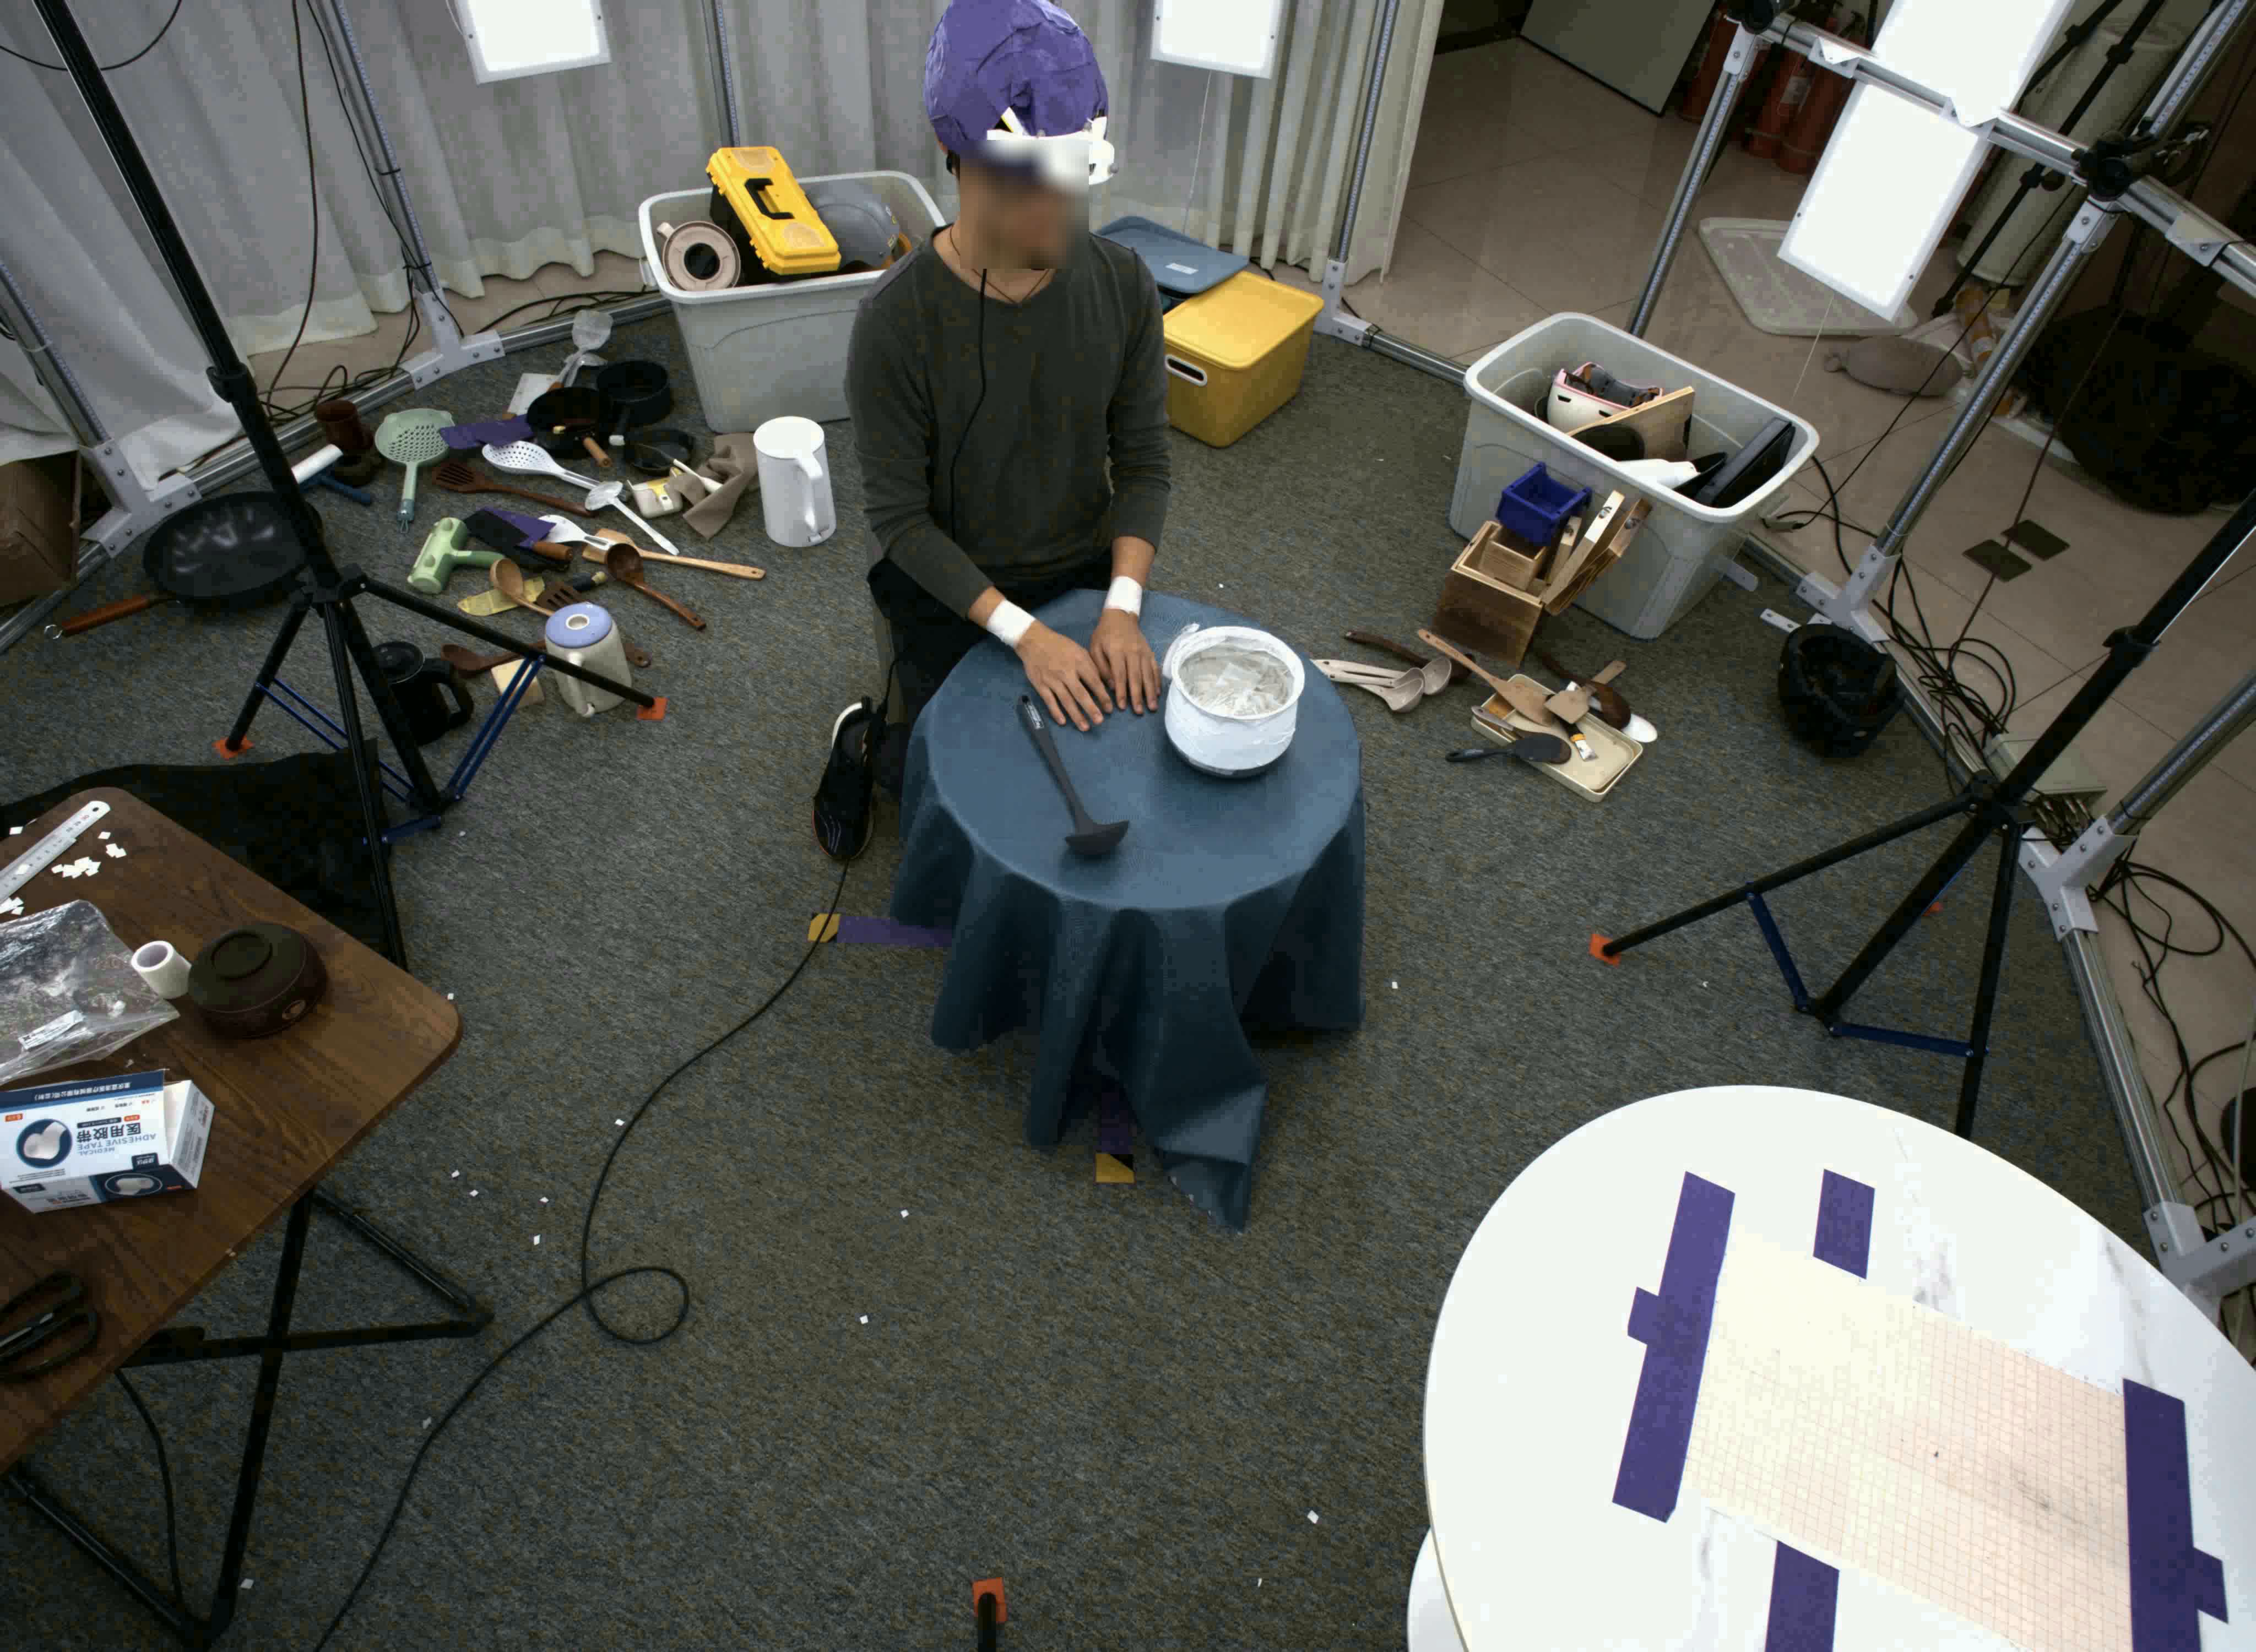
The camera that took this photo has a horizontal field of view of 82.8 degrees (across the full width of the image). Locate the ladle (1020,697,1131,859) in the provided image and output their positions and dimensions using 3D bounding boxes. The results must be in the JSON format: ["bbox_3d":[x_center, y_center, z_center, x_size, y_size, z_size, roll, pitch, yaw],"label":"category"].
[{"bbox_3d":[-0.086,-0.079,1.690,0.086,0.062,0.321,-11,51,-19],"label":"ladle"}]

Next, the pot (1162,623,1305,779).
[{"bbox_3d":[0.125,-0.181,1.745,0.179,0.133,0.238,-26,55,-24],"label":"pot"}]
